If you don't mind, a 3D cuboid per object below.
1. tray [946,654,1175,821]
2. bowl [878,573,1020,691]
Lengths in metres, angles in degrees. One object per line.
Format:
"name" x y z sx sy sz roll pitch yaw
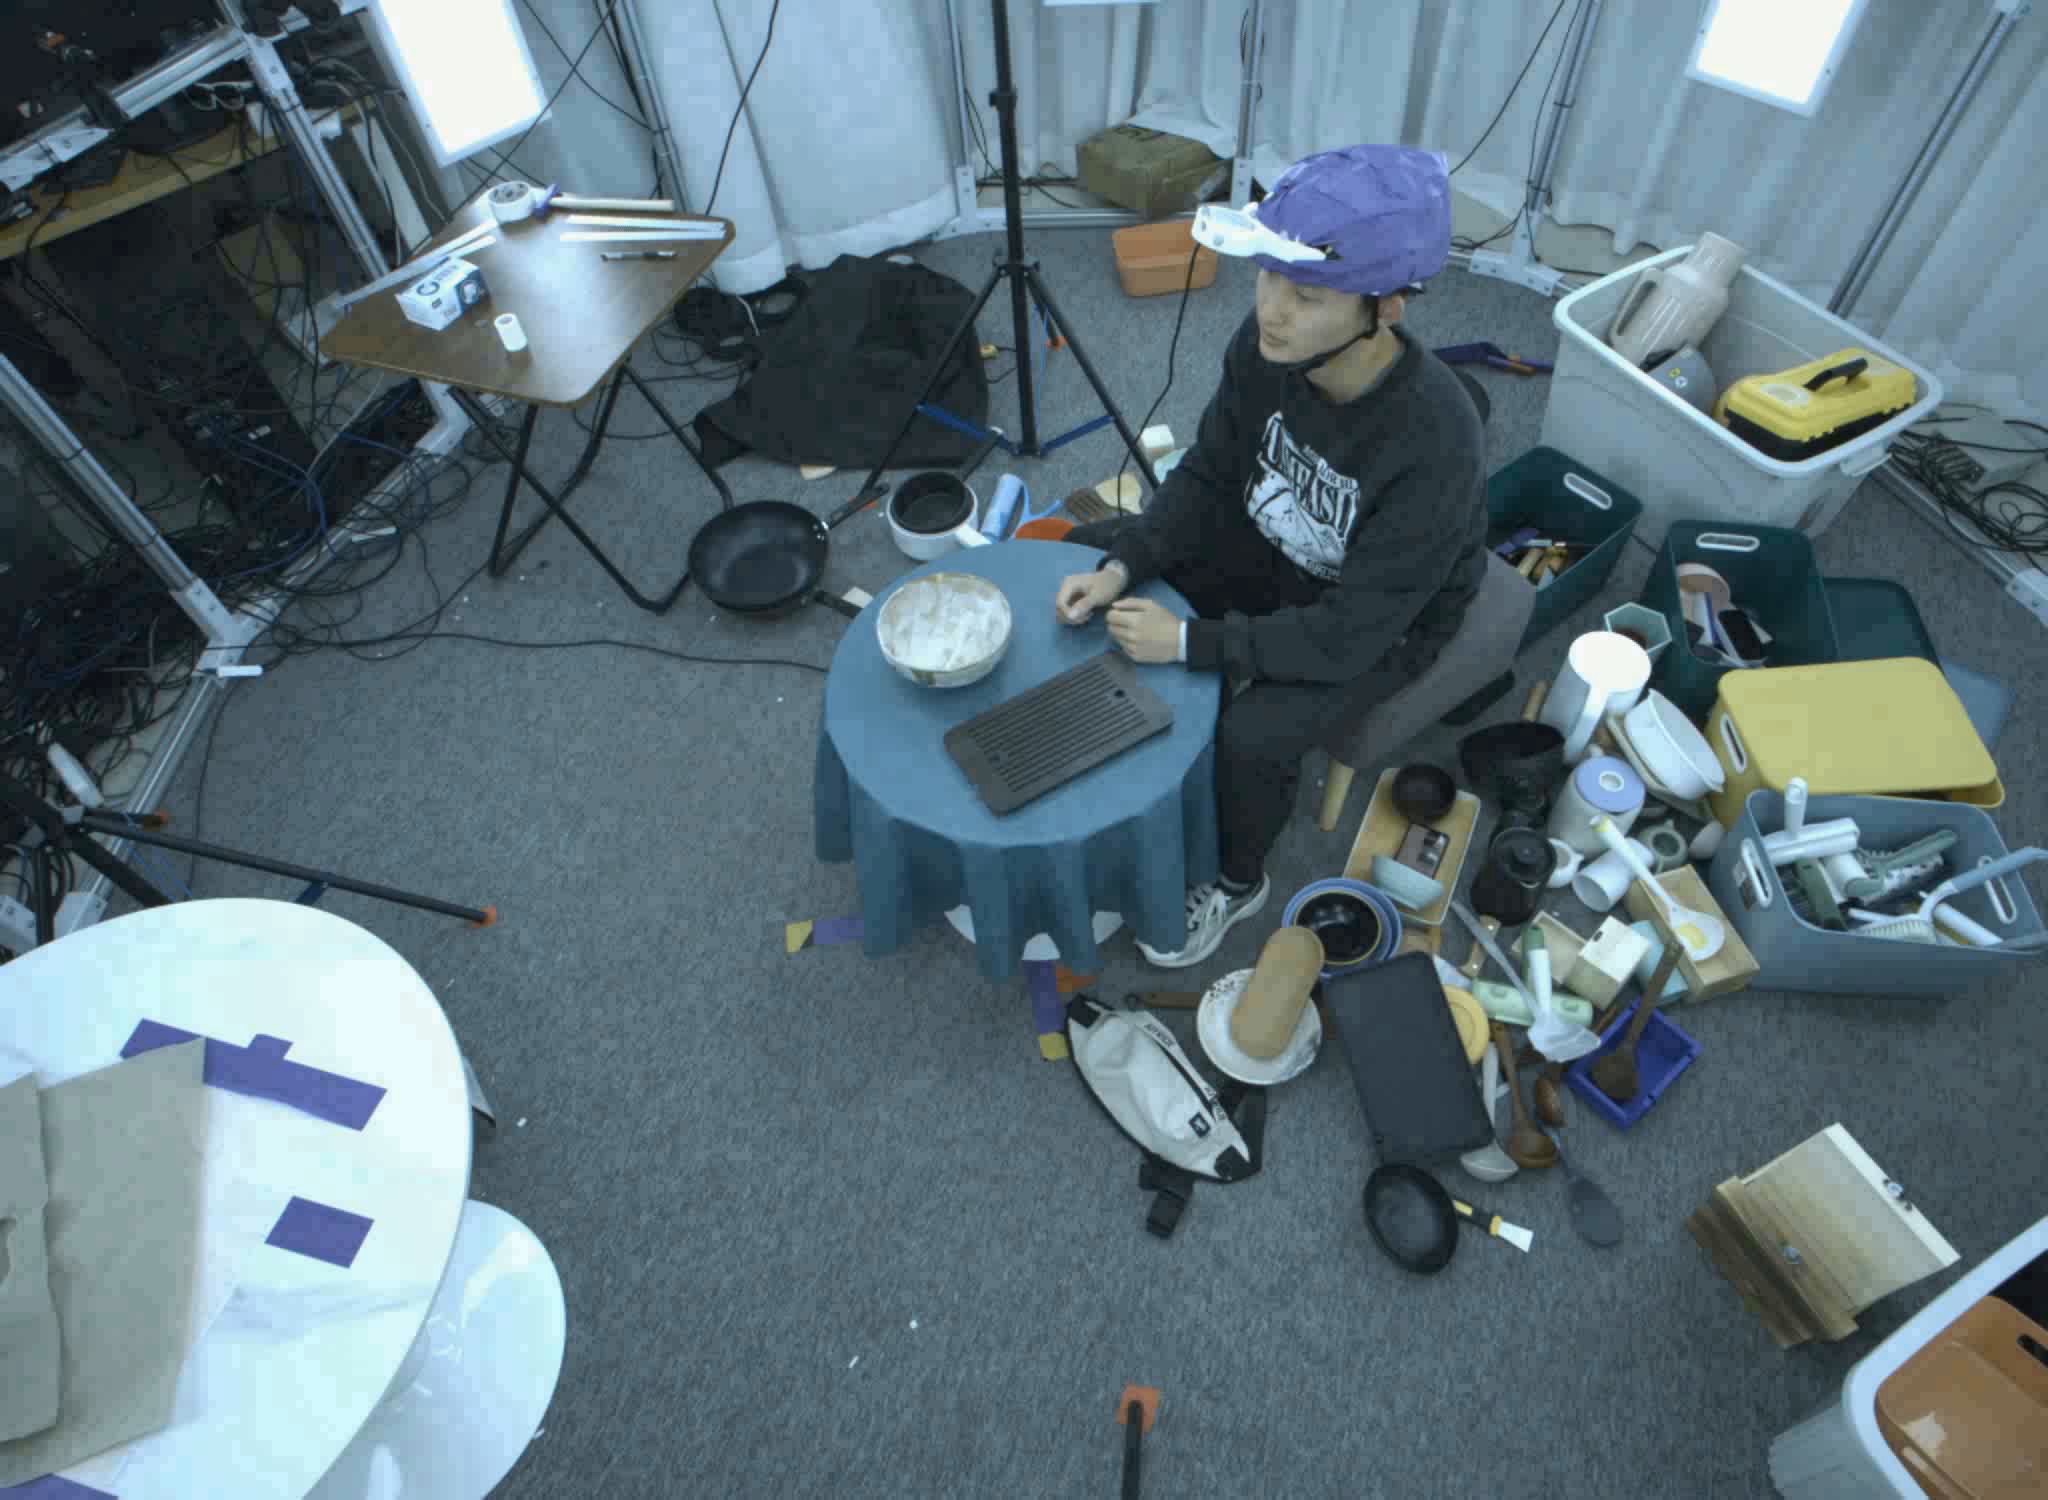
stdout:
"tray" 0.054 -0.022 1.801 0.308 0.019 0.167 -28 59 -17
"bowl" -0.109 -0.160 1.857 0.214 0.095 0.212 -1 54 2
